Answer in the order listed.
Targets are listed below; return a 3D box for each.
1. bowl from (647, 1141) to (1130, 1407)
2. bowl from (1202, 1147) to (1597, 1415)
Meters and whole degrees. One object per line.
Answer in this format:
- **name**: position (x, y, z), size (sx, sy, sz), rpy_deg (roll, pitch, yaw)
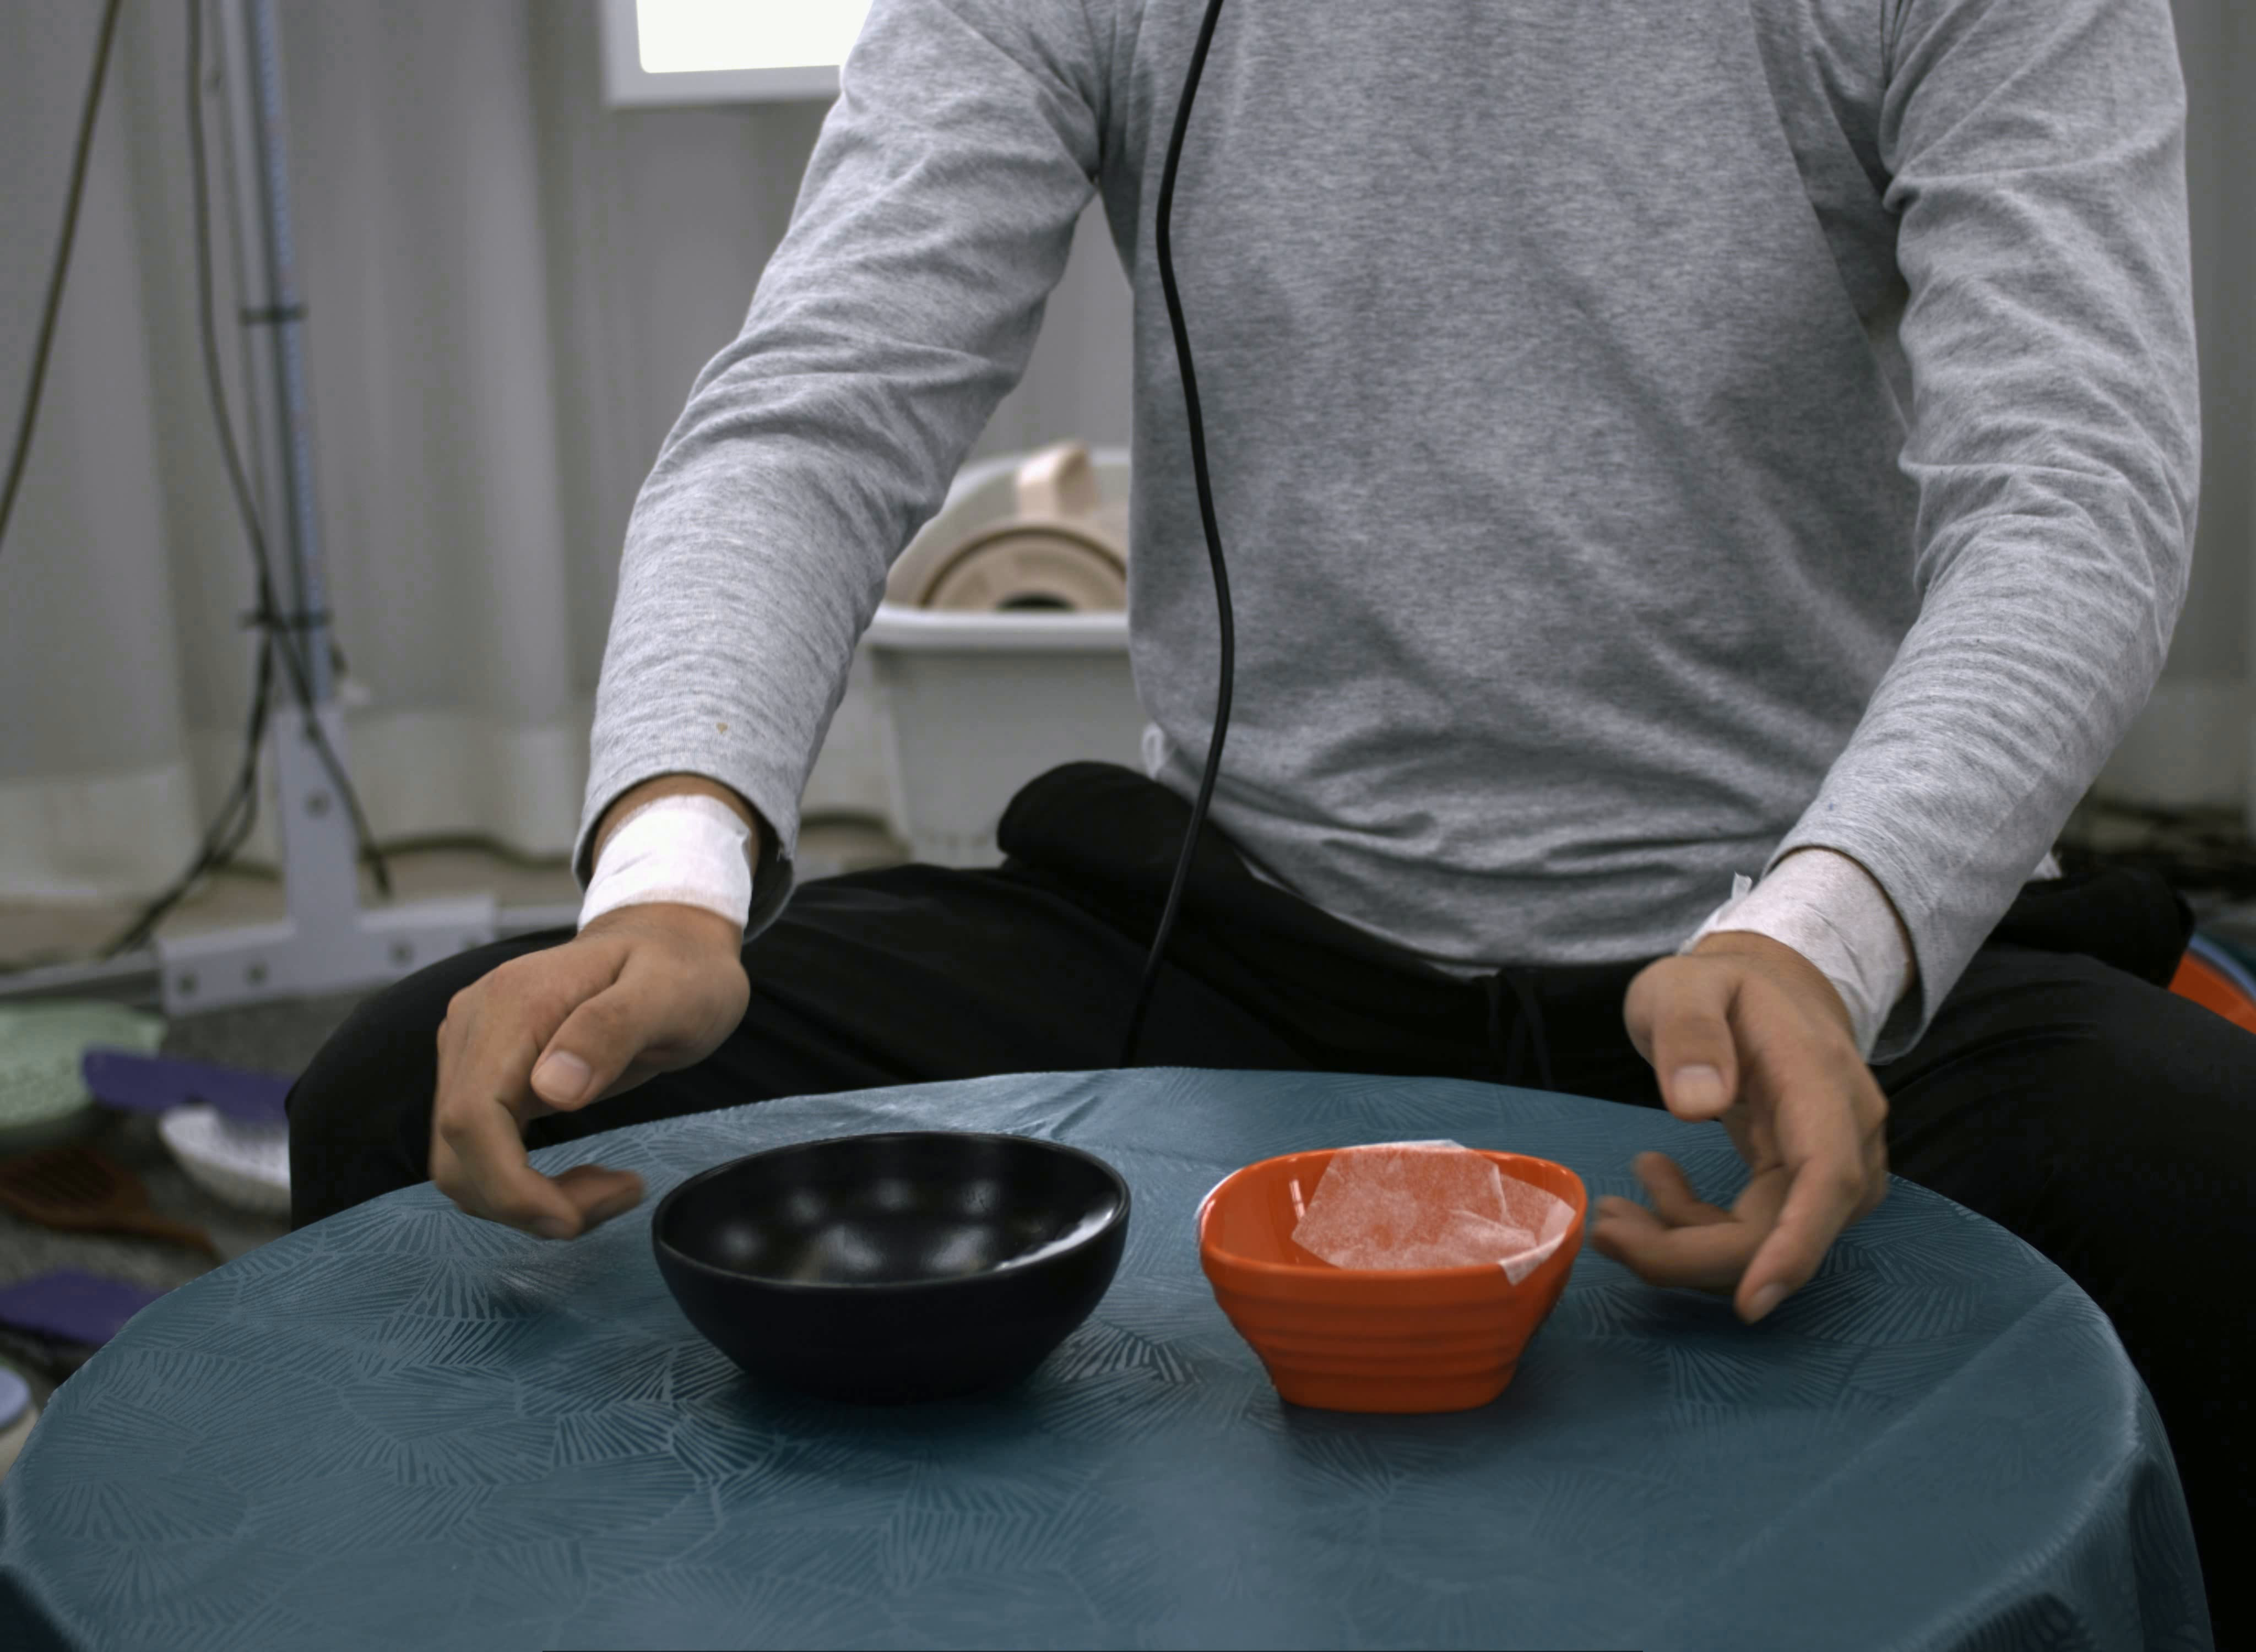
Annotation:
- **bowl**: position (-0.068, 0.133, 1.571), size (0.139, 0.049, 0.141), rpy_deg (-2, 12, 0)
- **bowl**: position (0.078, 0.131, 1.542), size (0.118, 0.051, 0.119), rpy_deg (-4, 14, 1)
